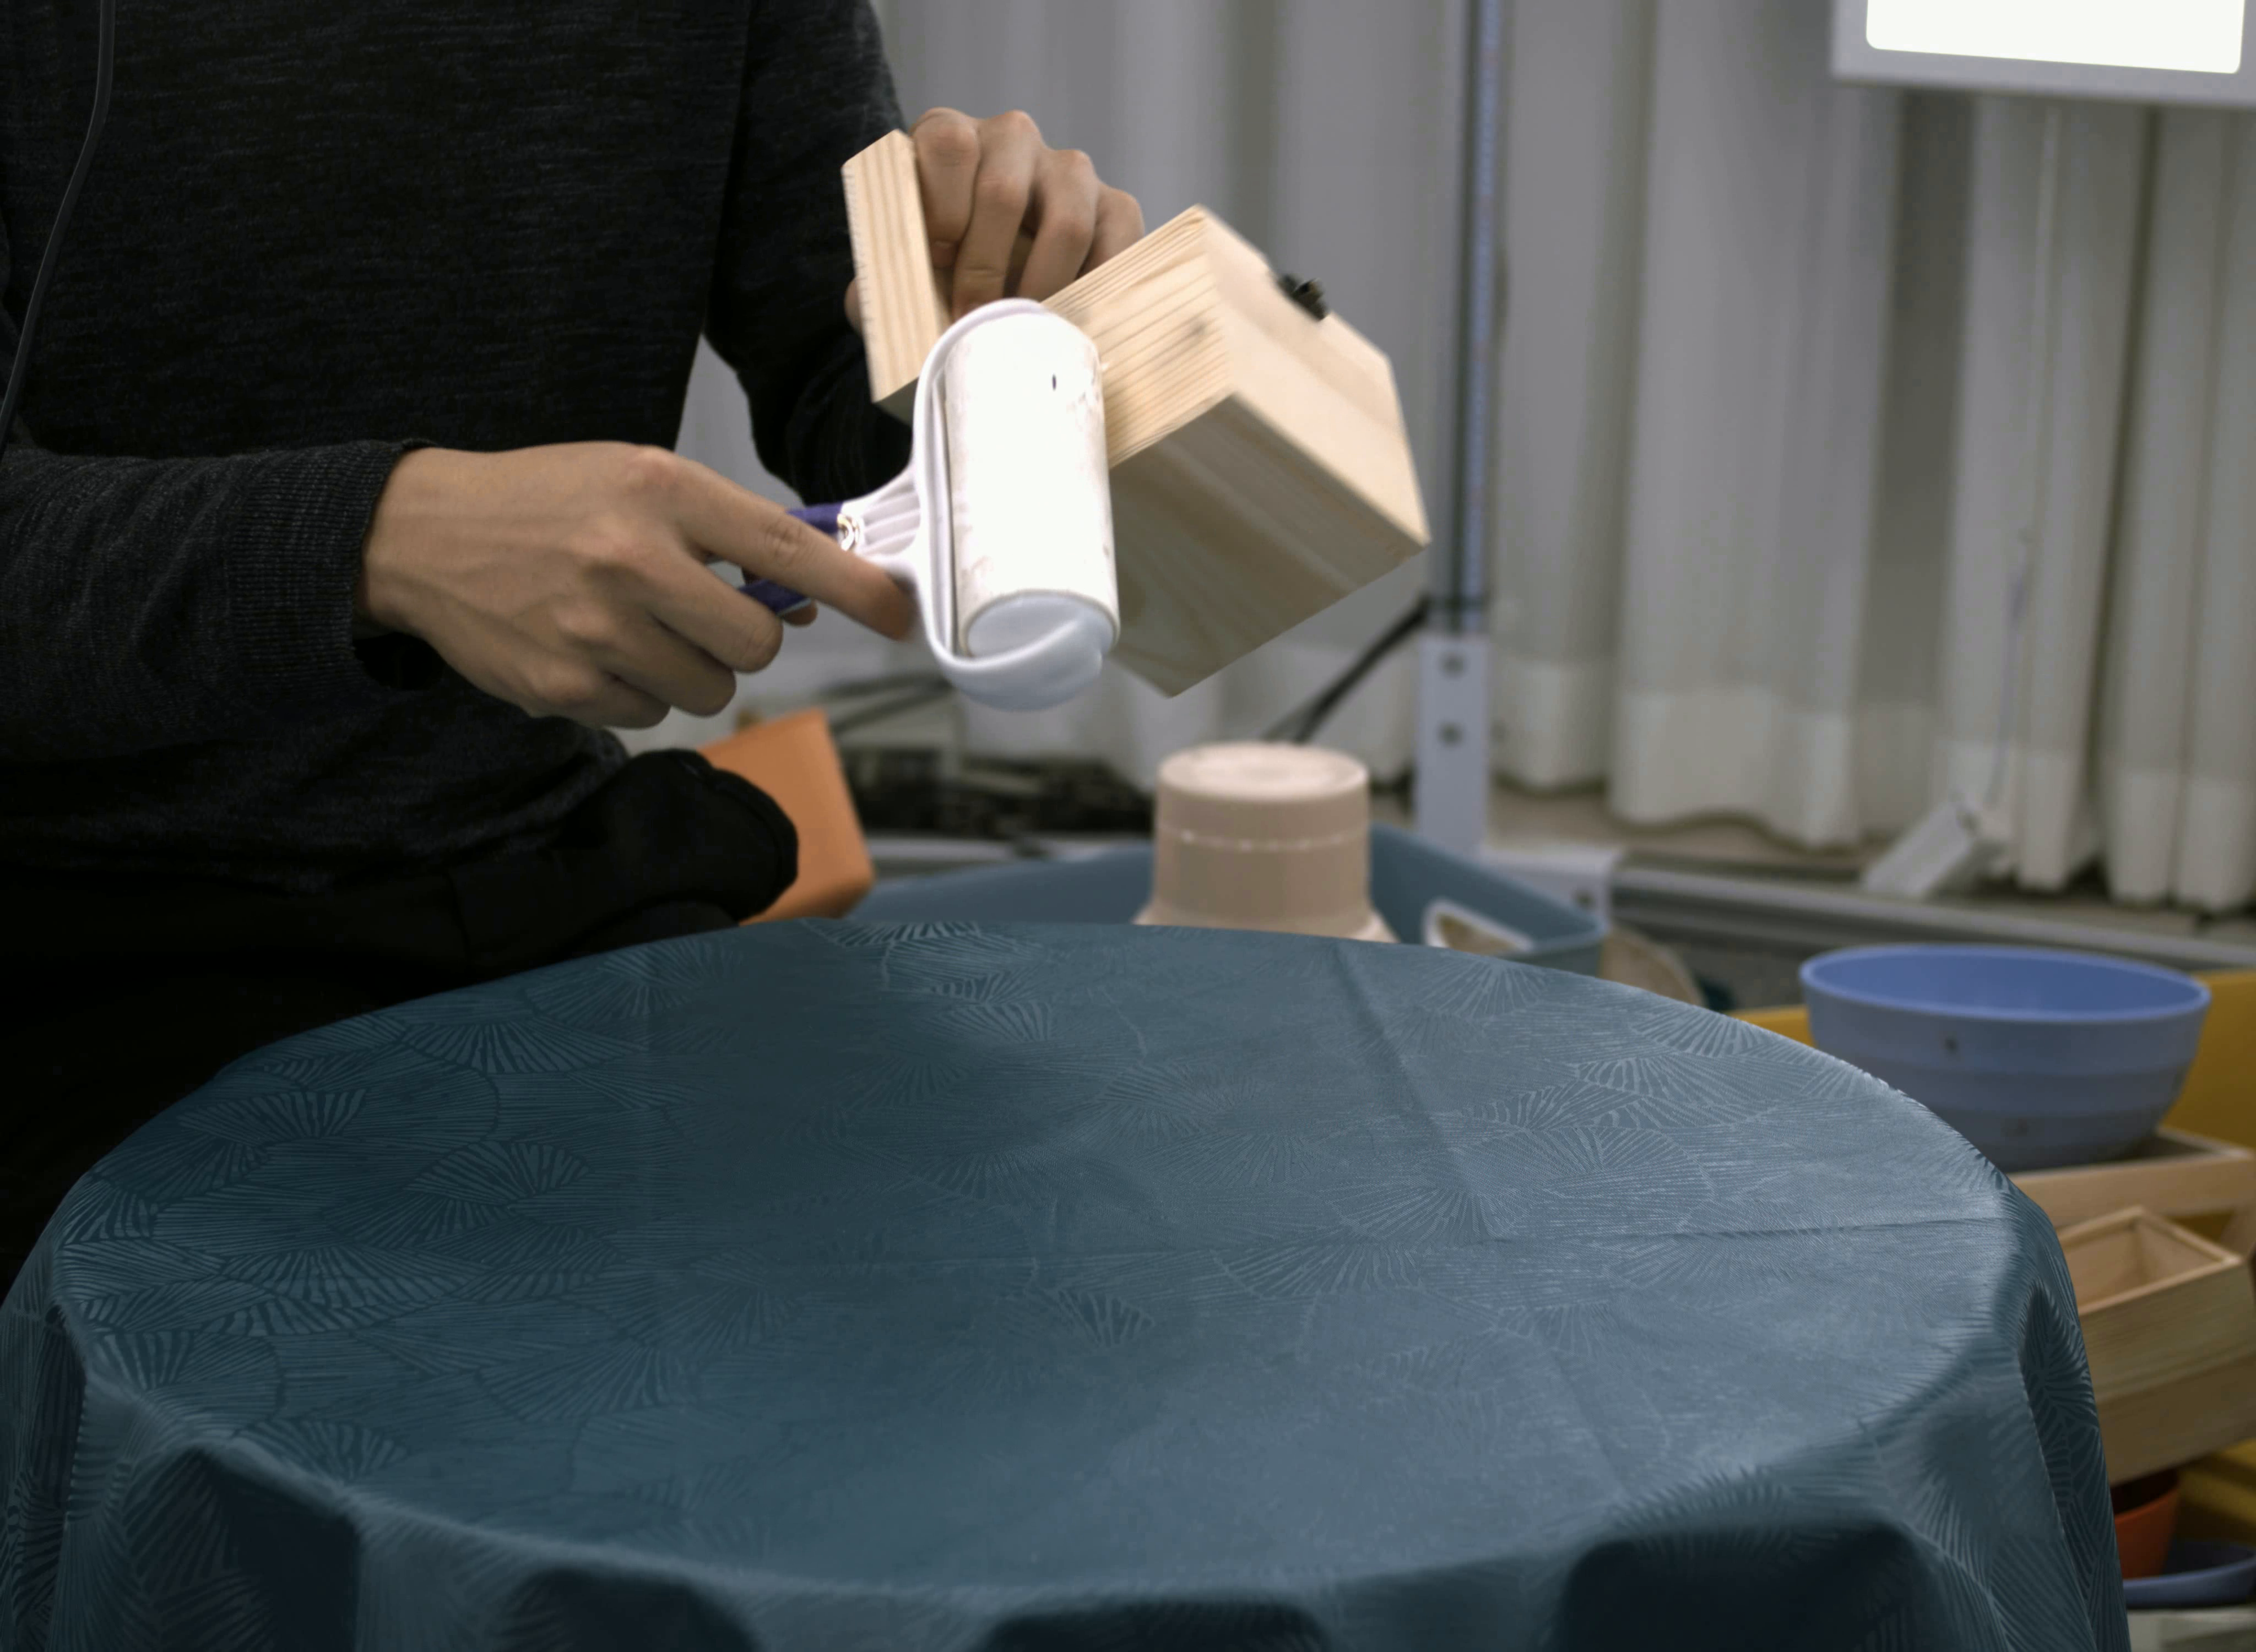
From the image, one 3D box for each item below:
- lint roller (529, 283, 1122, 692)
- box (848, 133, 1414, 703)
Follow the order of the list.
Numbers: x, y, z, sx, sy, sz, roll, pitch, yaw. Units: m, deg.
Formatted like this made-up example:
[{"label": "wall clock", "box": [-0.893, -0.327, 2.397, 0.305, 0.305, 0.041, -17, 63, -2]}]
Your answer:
[{"label": "lint roller", "box": [-0.091, -0.090, 1.524, 0.180, 0.051, 0.132, -7, 56, 7]}, {"label": "box", "box": [0.000, -0.148, 1.631, 0.133, 0.183, 0.104, -30, -41, 26]}]
